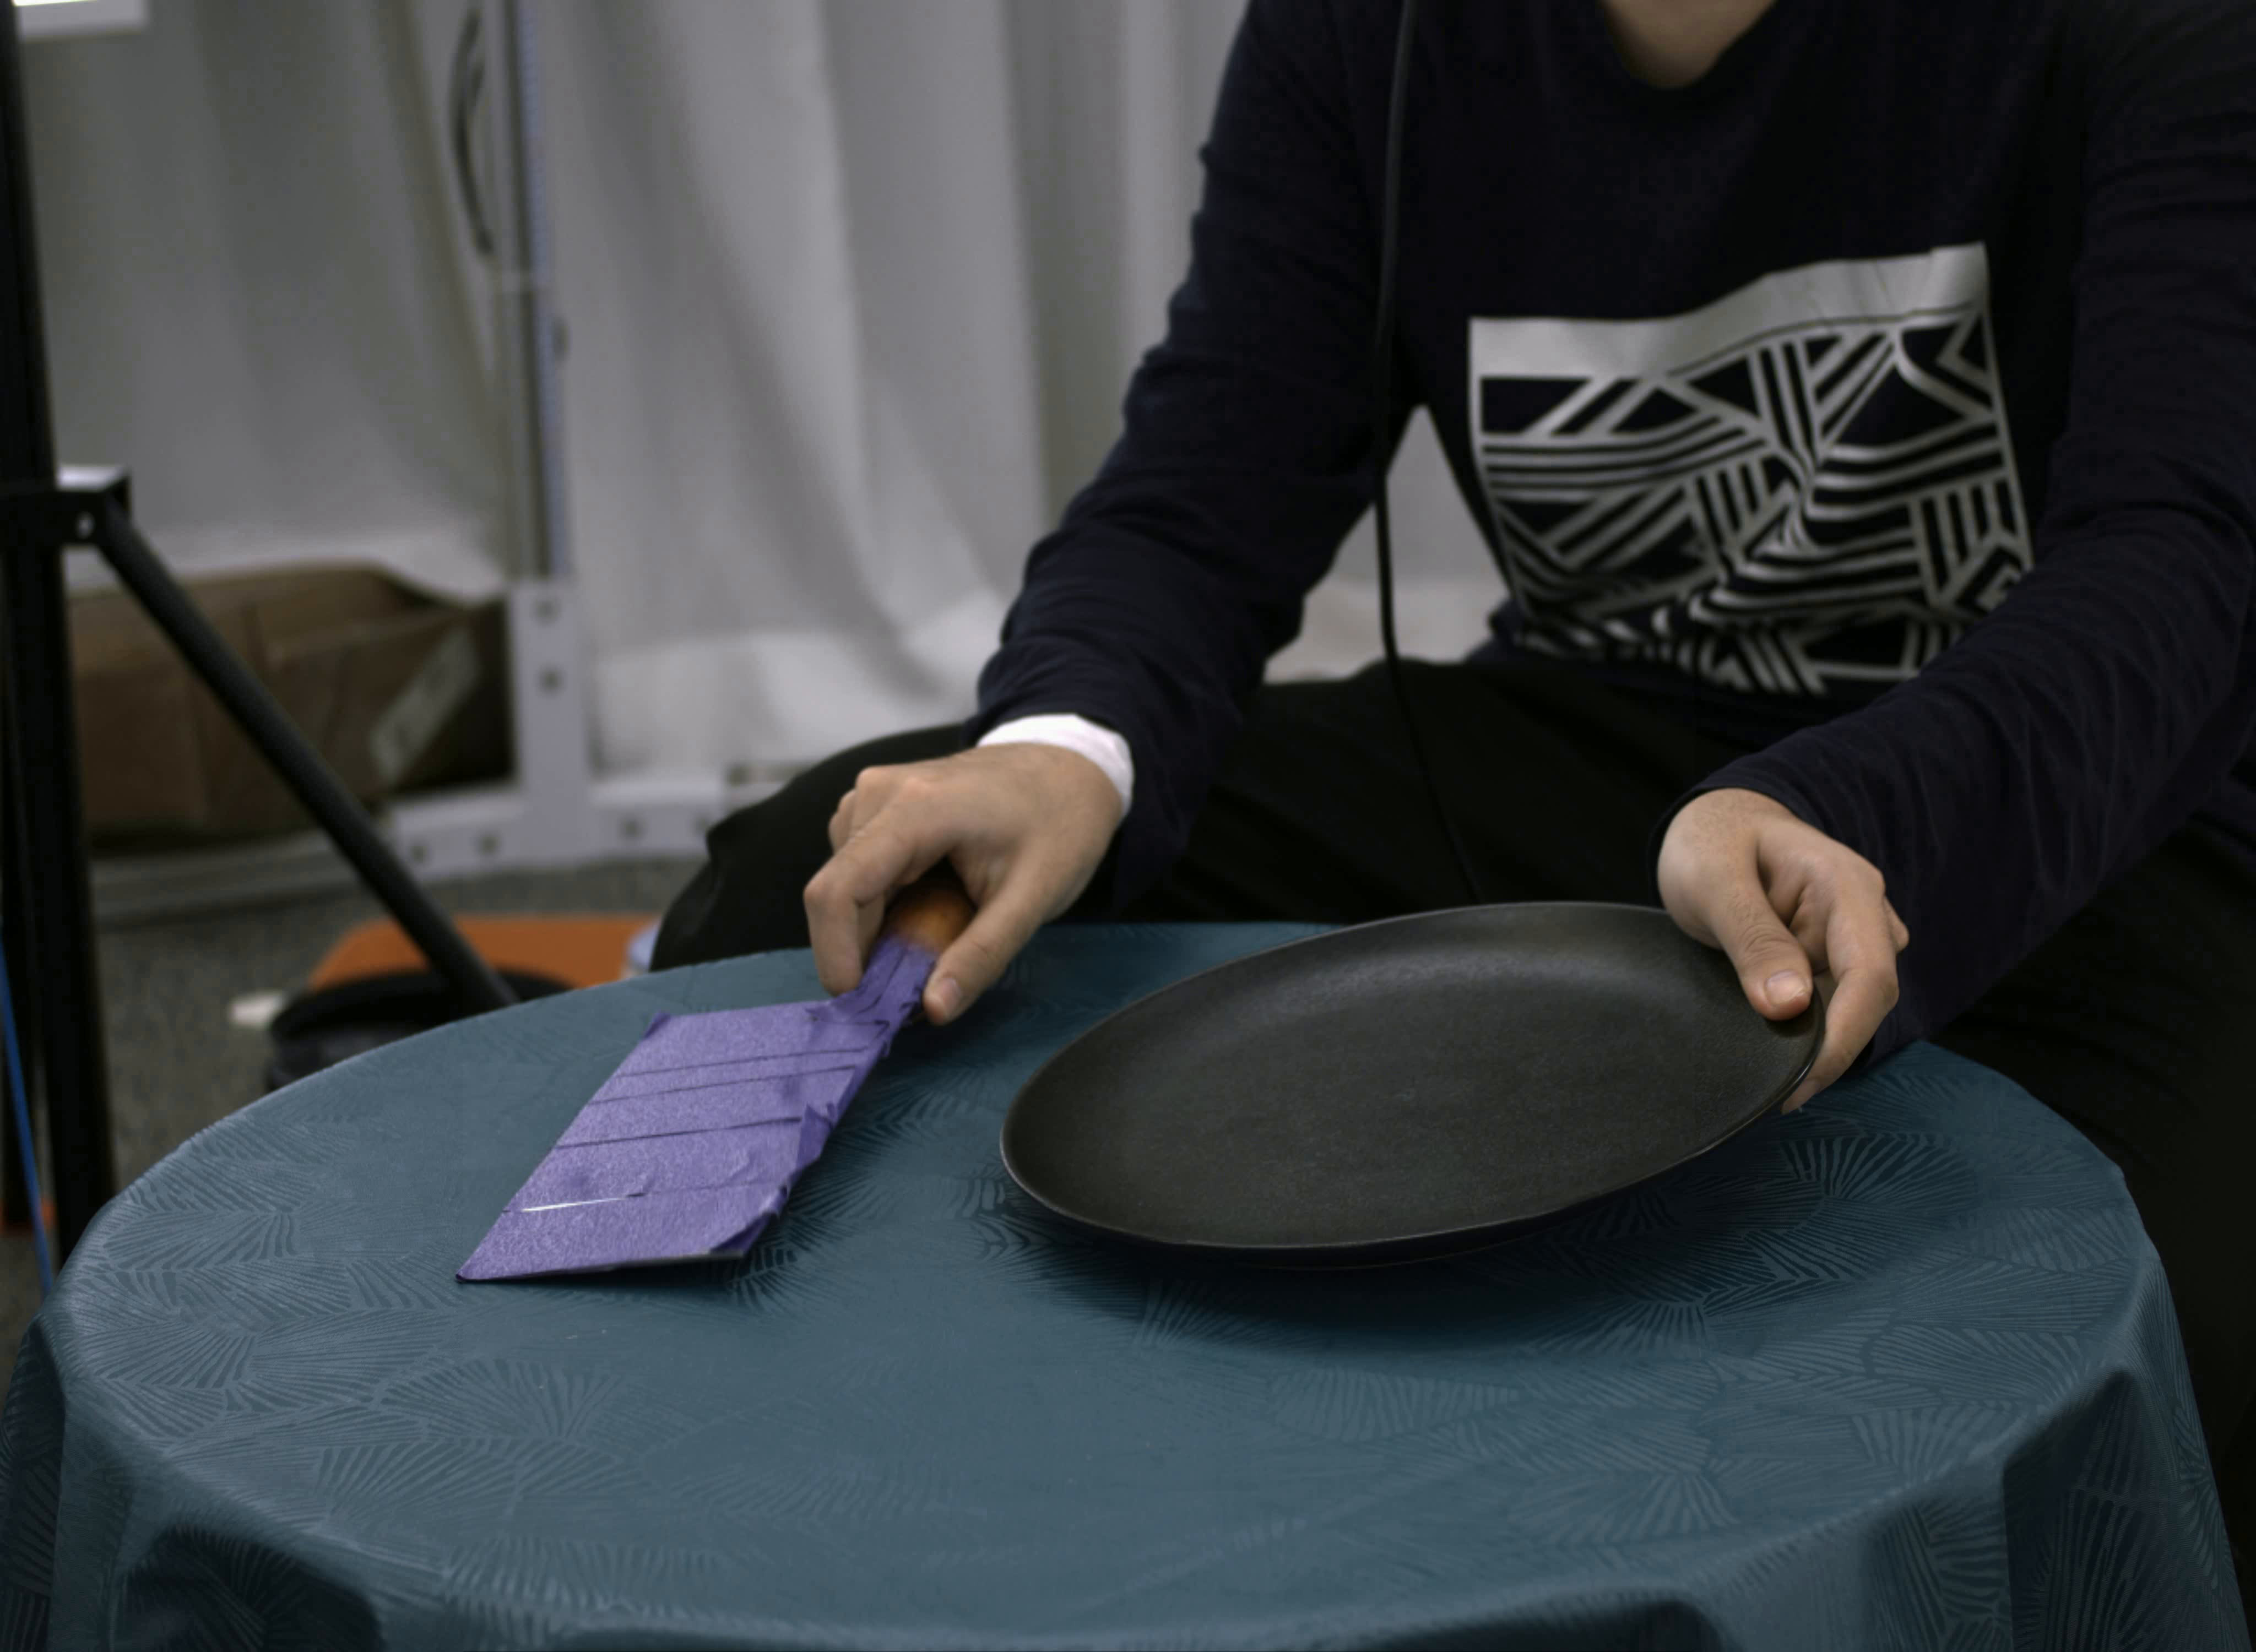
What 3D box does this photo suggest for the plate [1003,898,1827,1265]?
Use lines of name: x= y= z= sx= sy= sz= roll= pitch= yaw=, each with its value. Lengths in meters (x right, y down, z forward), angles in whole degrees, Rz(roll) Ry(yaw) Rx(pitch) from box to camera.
plate: x=0.084 y=0.079 z=1.549 sx=0.244 sy=0.023 sz=0.246 roll=-11 pitch=19 yaw=3

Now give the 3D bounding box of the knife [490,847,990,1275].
knife: x=-0.117 y=0.069 z=1.642 sx=0.104 sy=0.032 sz=0.313 roll=-8 pitch=15 yaw=14
